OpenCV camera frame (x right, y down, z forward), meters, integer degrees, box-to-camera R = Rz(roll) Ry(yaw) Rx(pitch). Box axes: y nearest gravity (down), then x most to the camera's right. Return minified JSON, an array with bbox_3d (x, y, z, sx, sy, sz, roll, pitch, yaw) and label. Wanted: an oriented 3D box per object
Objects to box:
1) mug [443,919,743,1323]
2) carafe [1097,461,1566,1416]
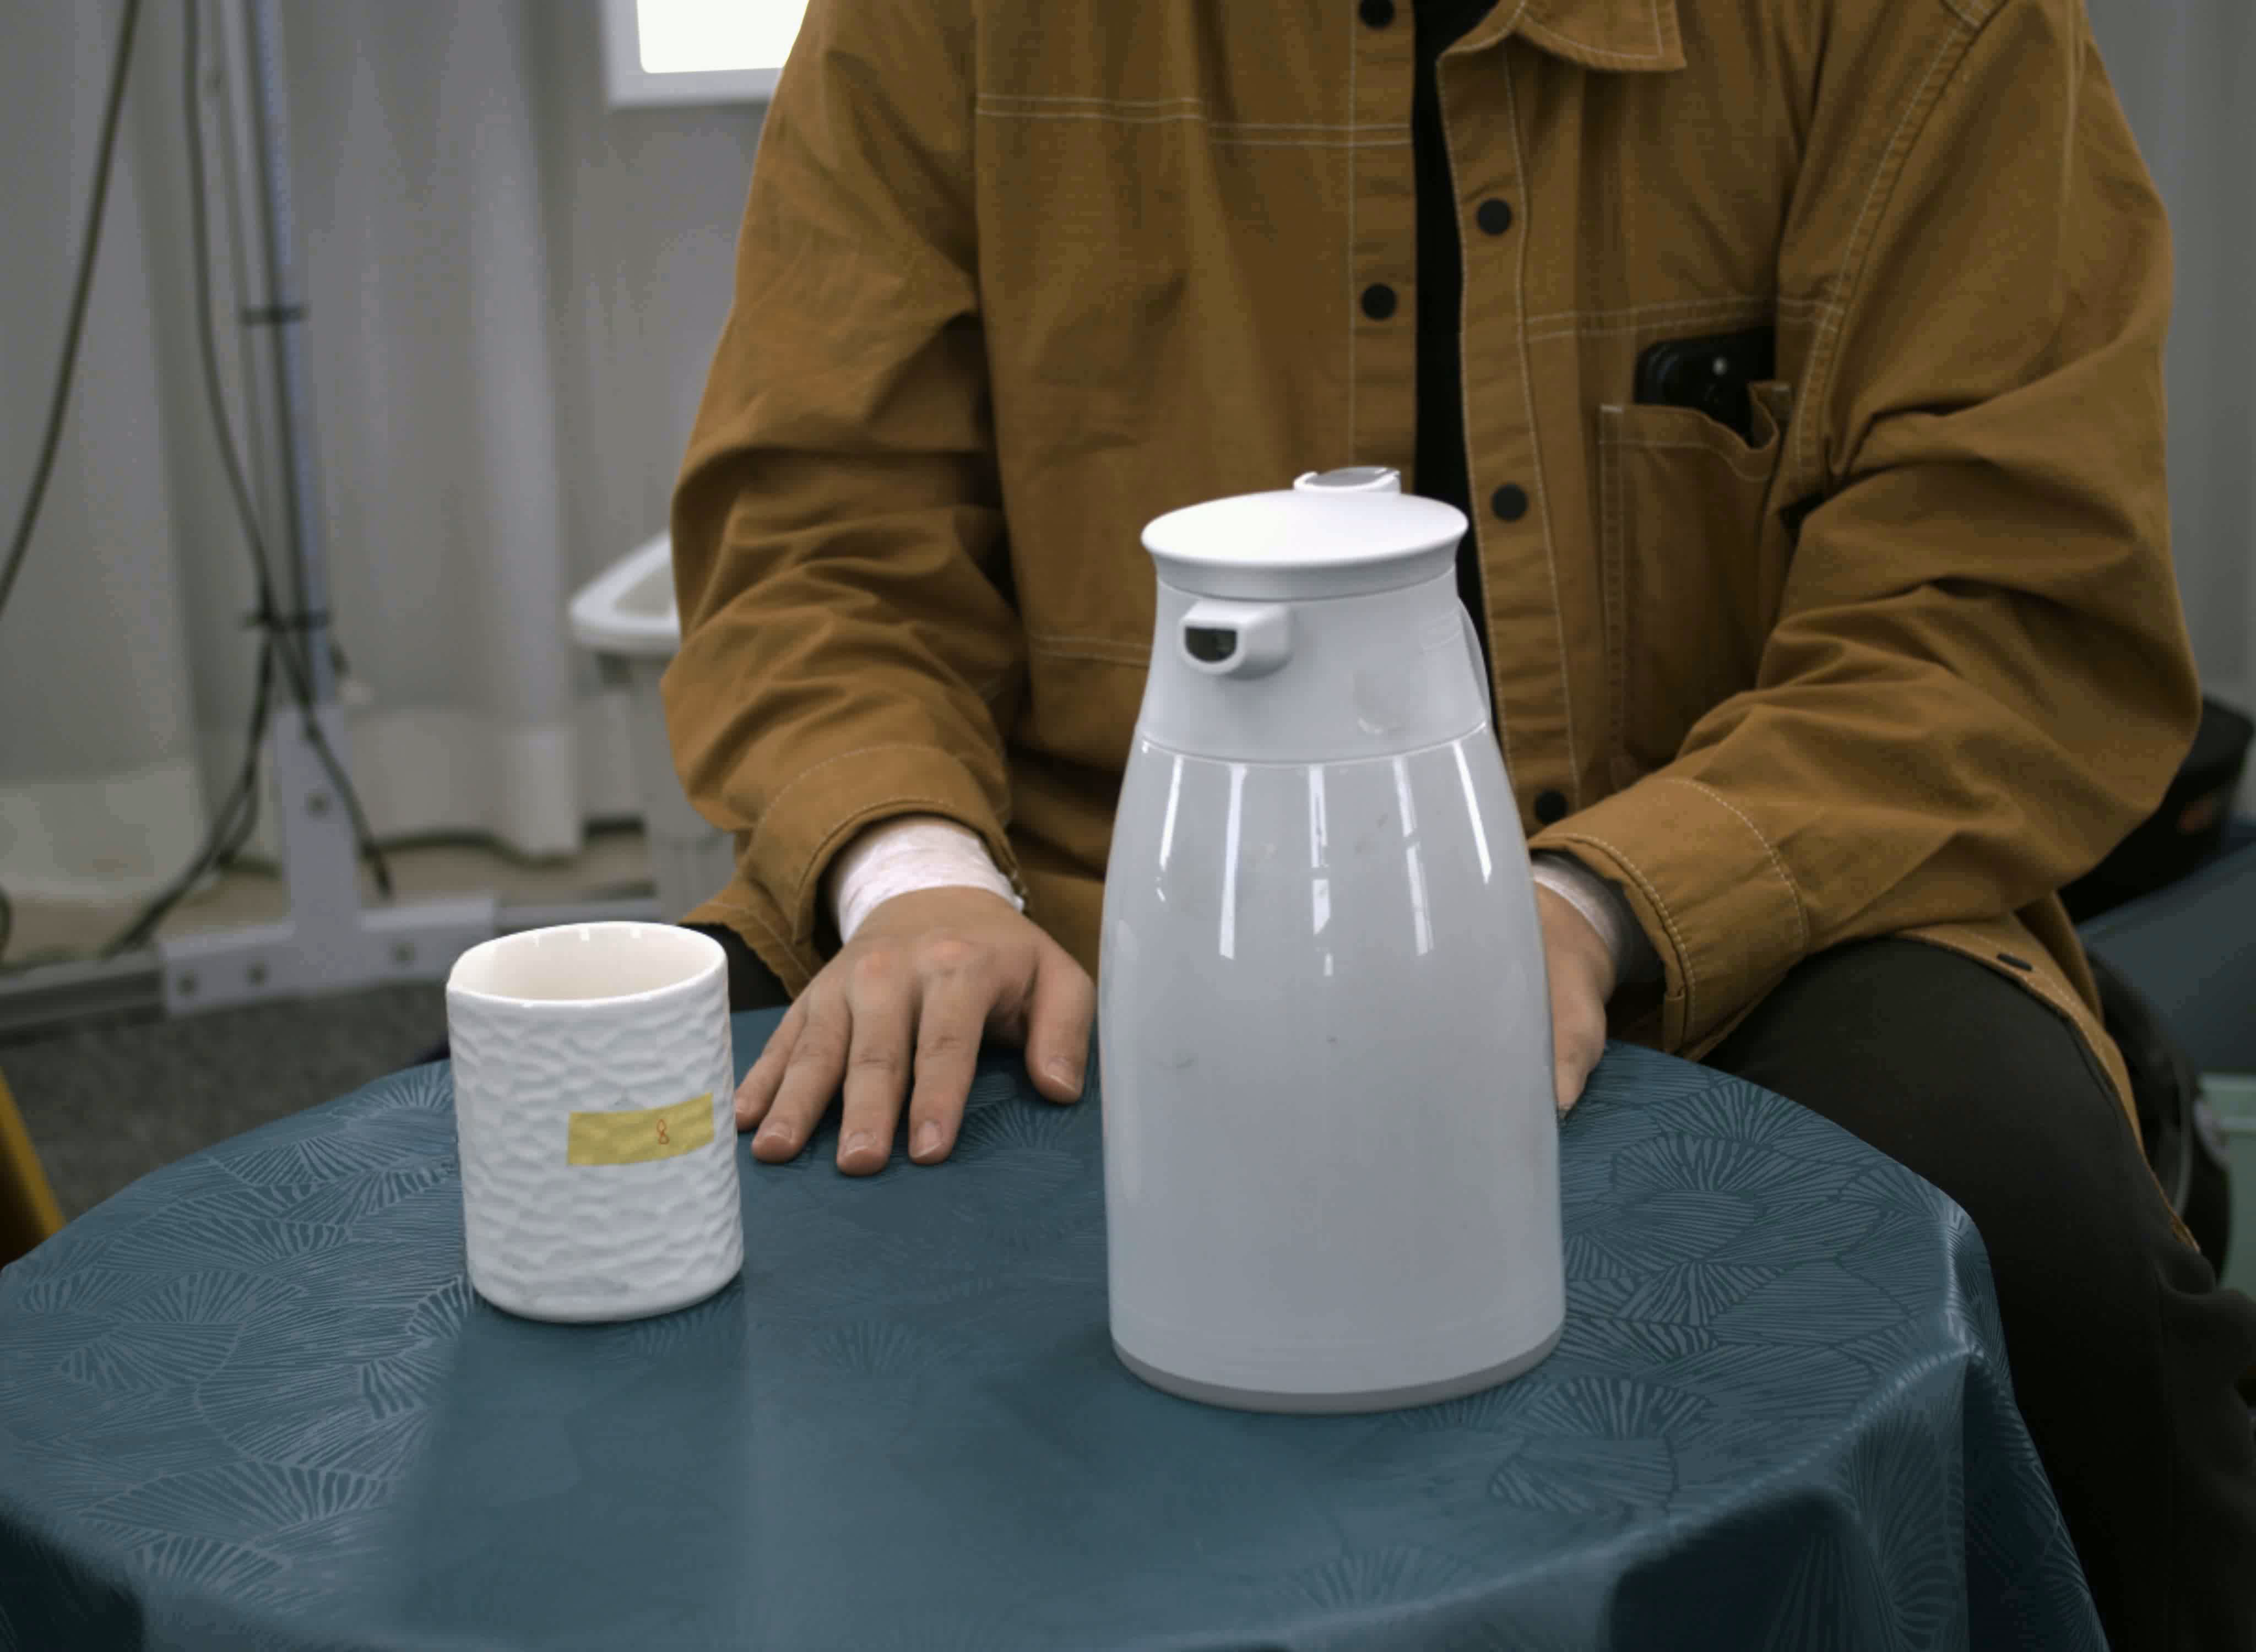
[{"bbox_3d":[-0.162,0.085,1.660,0.084,0.101,0.119,-4,14,-6],"label":"mug"},{"bbox_3d":[0.061,0.023,1.568,0.132,0.248,0.168,3,14,25],"label":"carafe"}]
